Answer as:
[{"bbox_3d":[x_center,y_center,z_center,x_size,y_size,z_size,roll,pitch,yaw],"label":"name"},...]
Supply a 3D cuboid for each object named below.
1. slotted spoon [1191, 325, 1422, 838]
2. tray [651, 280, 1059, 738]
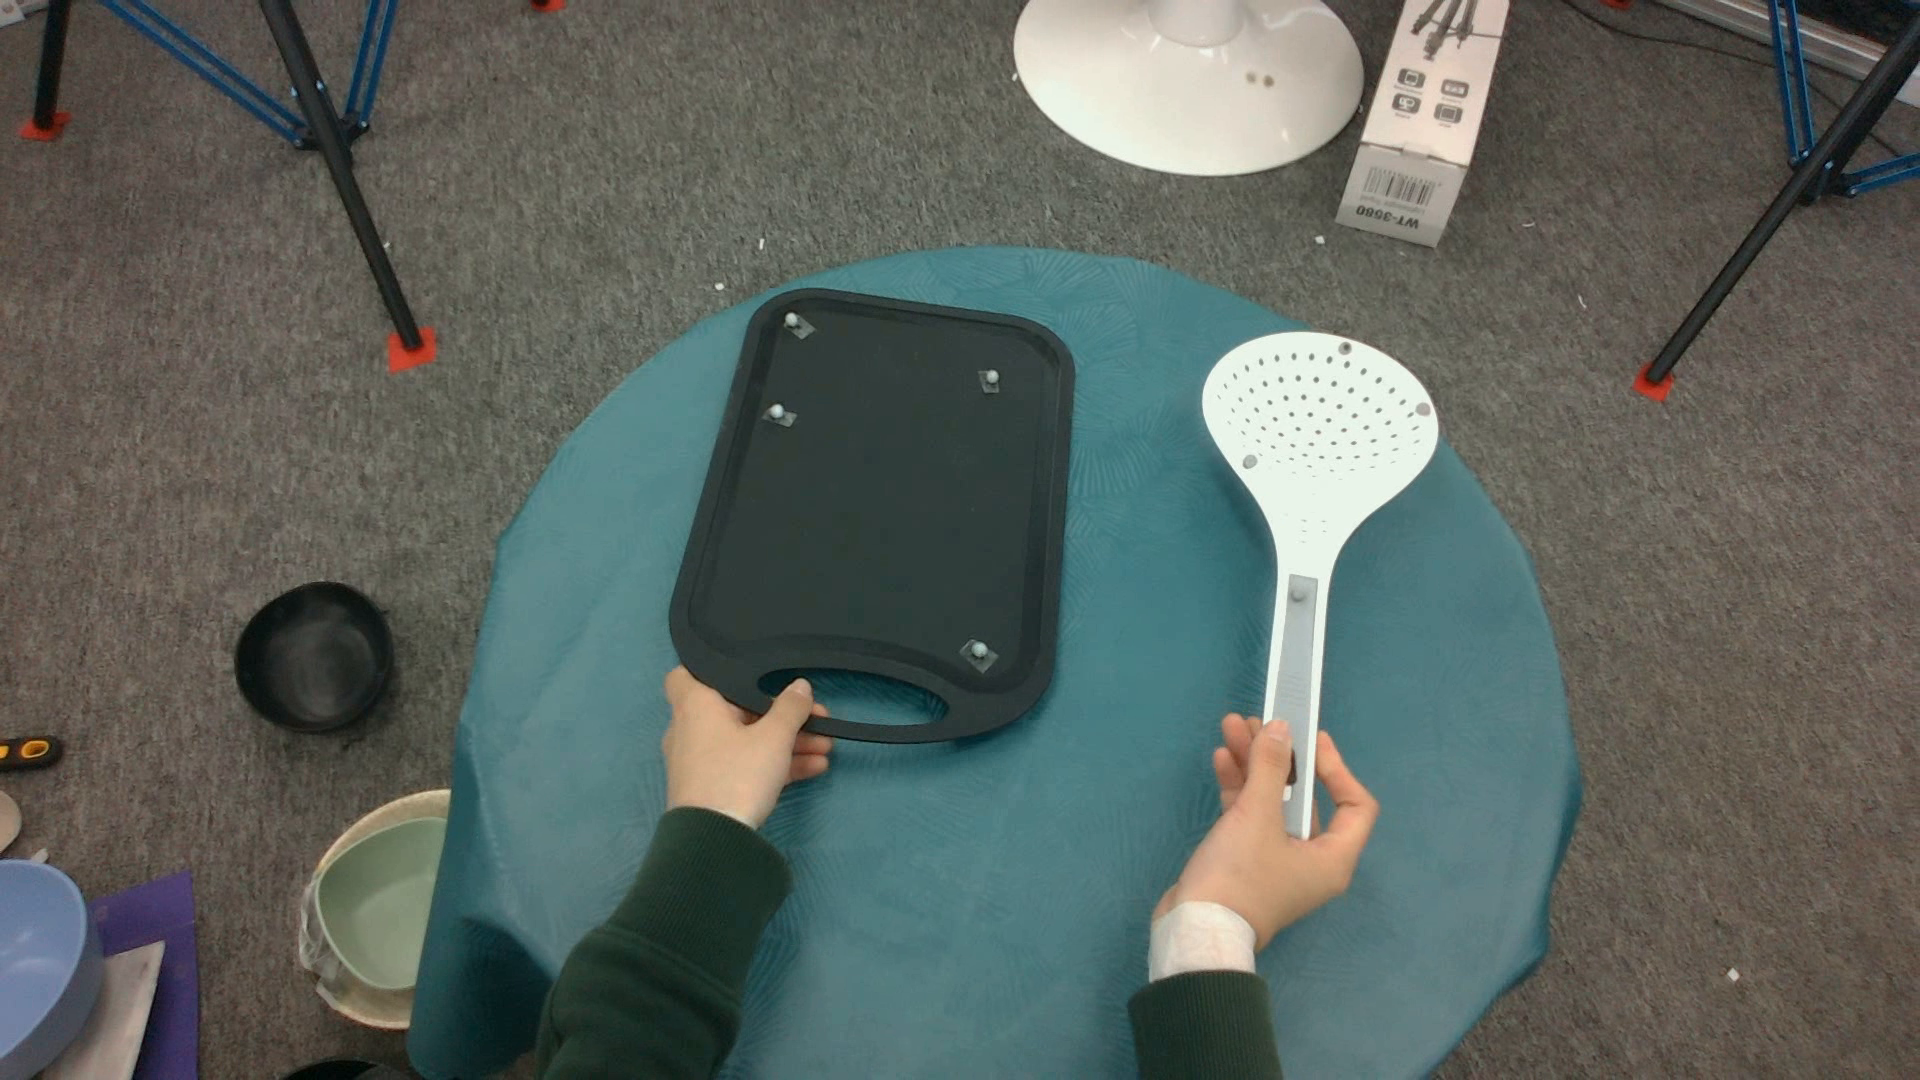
[{"bbox_3d":[0.181,0.005,0.756,0.136,0.045,0.351,10,47,8],"label":"slotted spoon"},{"bbox_3d":[-0.051,-0.031,0.798,0.211,0.010,0.327,8,53,-1],"label":"tray"}]
